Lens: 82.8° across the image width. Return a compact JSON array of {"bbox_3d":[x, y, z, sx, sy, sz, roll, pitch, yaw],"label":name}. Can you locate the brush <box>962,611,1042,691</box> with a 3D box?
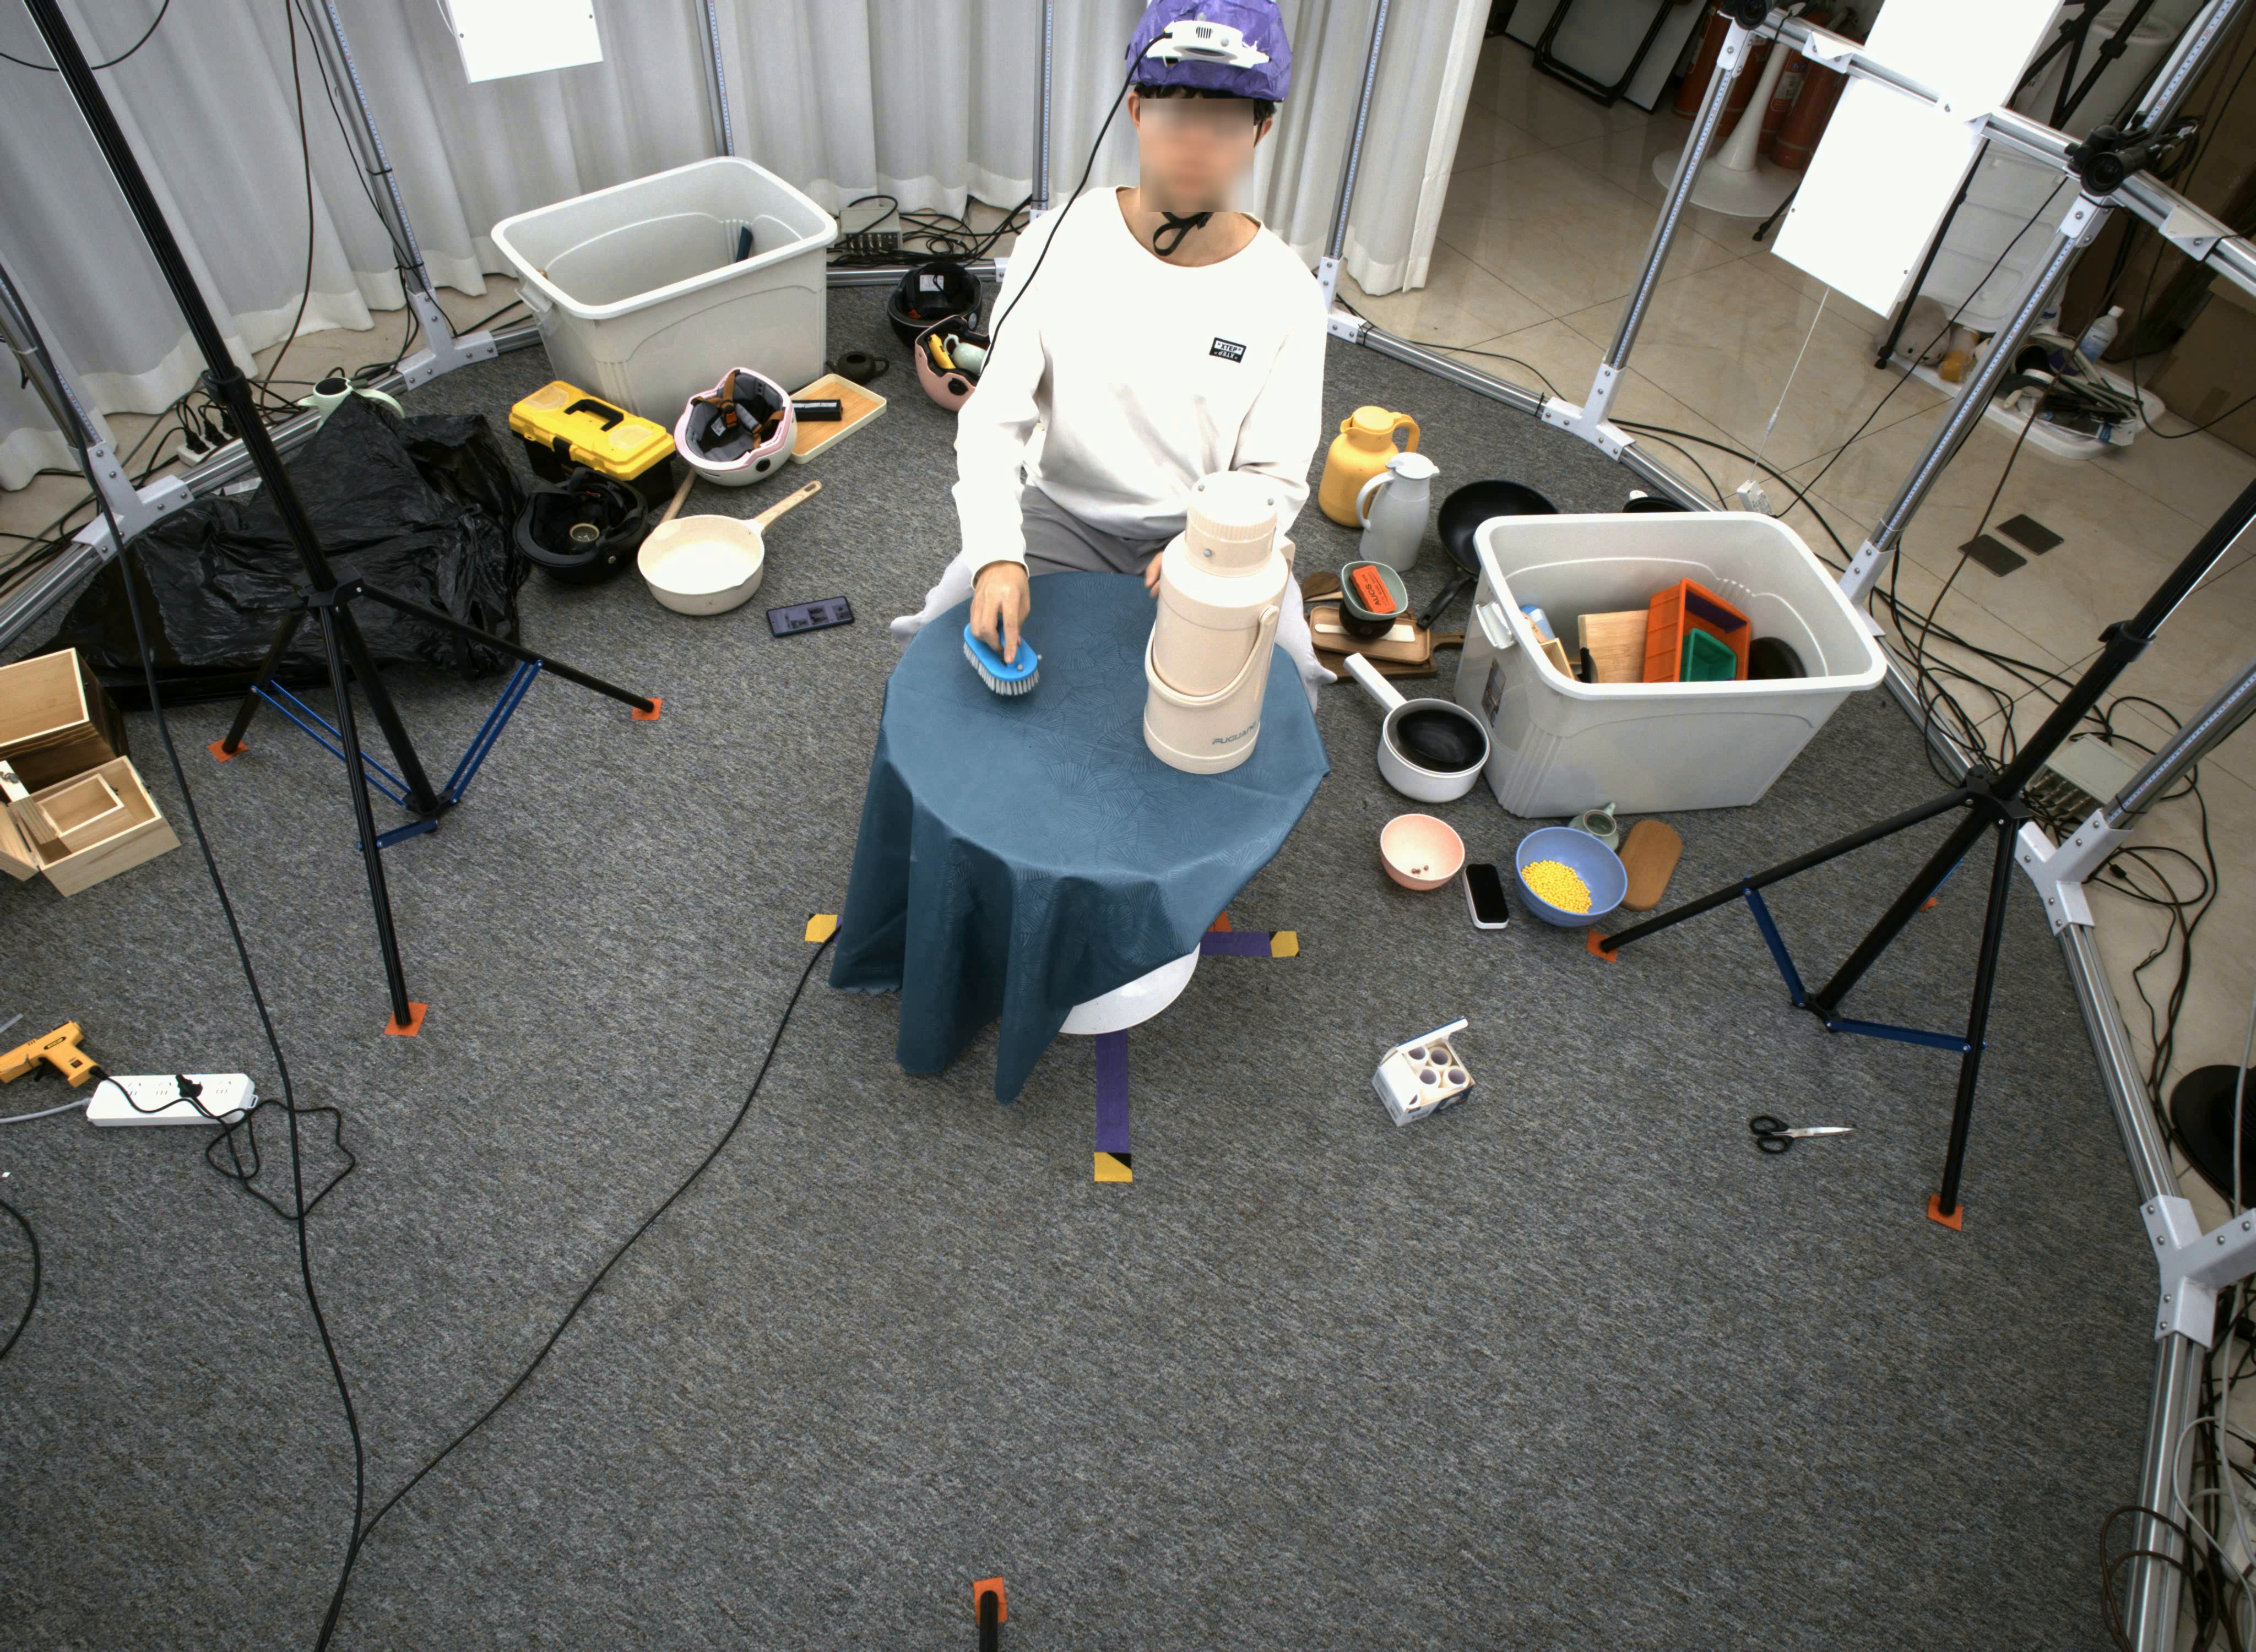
[{"bbox_3d":[-0.178,-0.255,1.795,0.084,0.062,0.145,-24,53,-18],"label":"brush"}]

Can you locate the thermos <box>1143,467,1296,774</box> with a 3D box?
[{"bbox_3d":[0.124,-0.263,1.646,0.208,0.396,0.178,-32,57,-28],"label":"thermos"}]
